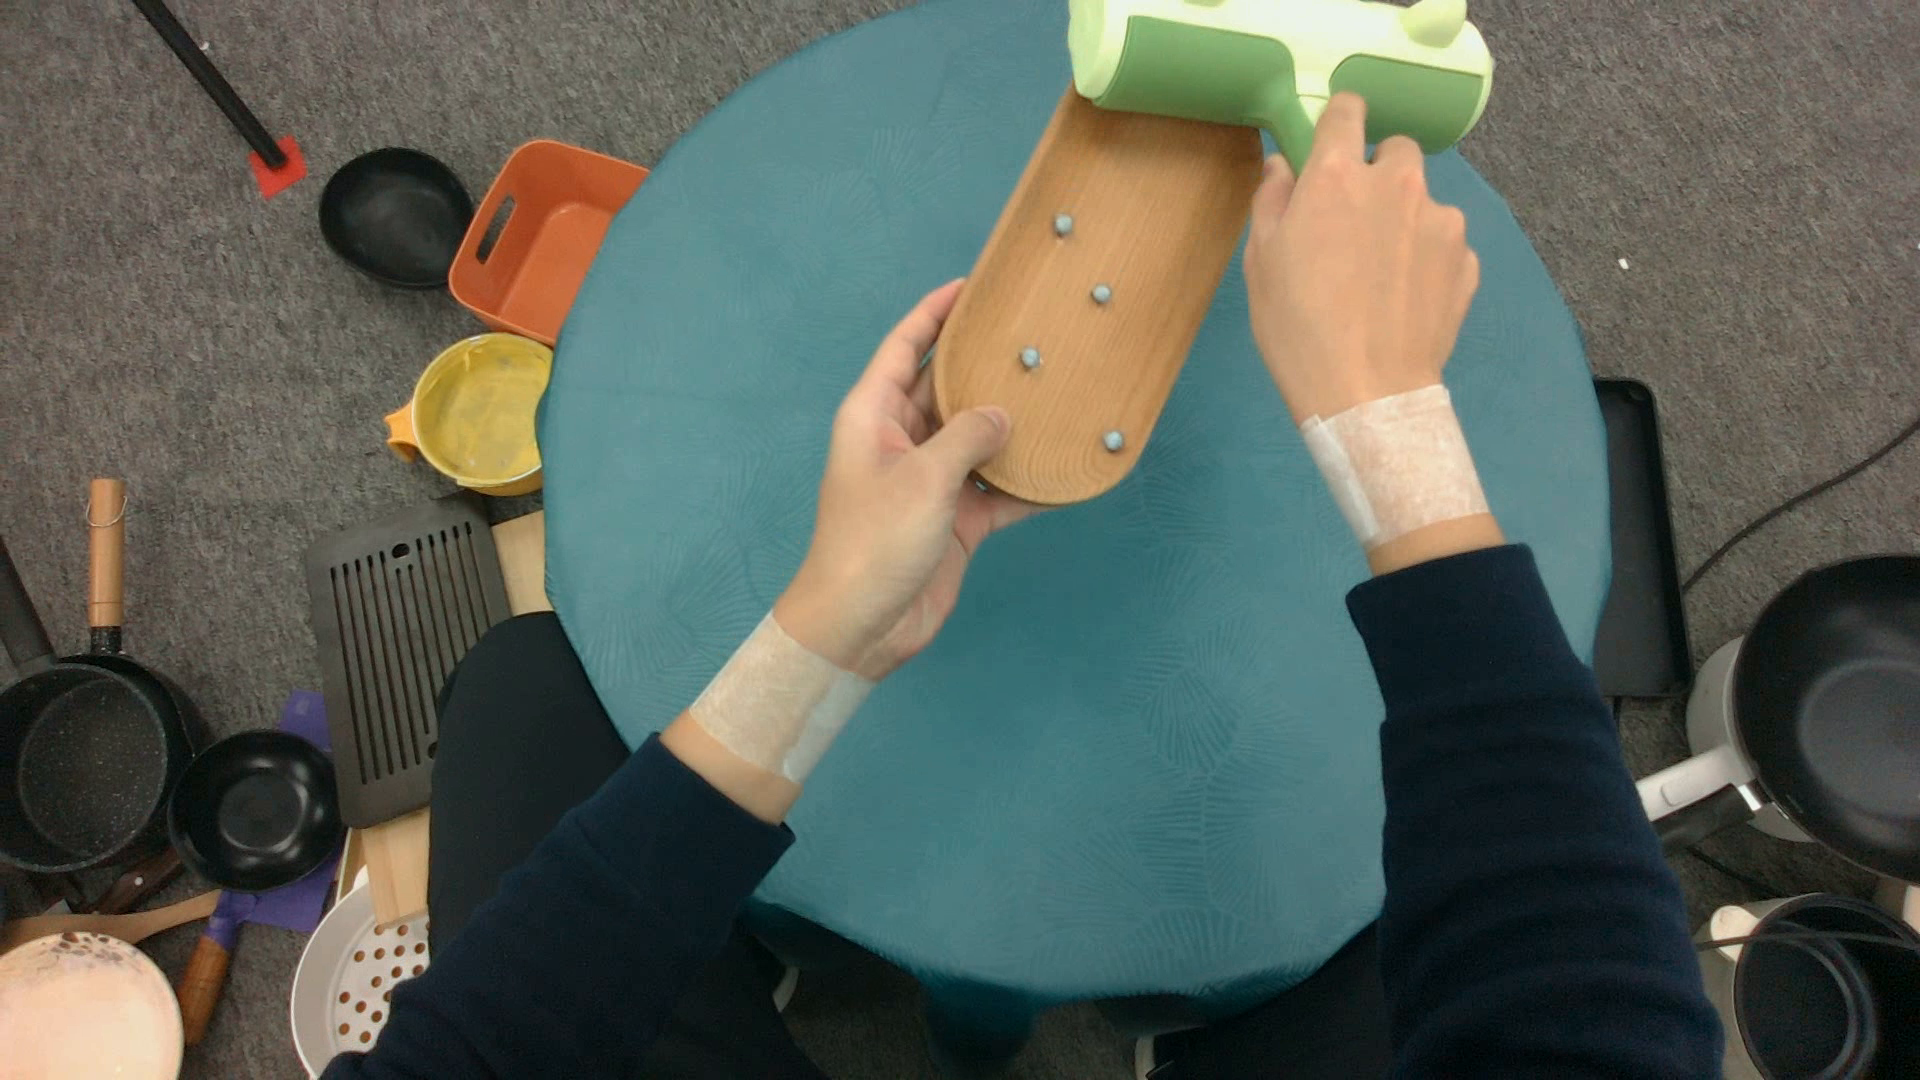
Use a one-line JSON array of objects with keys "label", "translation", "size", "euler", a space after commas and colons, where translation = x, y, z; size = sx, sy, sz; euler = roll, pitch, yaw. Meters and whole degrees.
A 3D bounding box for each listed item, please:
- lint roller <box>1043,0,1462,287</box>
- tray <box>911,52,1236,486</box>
[{"label": "lint roller", "translation": [0.148, -0.190, 0.579], "size": [0.199, 0.082, 0.184], "euler": [-1, 46, -21]}, {"label": "tray", "translation": [0.053, -0.128, 0.606], "size": [0.101, 0.020, 0.232], "euler": [29, 70, -14]}]
